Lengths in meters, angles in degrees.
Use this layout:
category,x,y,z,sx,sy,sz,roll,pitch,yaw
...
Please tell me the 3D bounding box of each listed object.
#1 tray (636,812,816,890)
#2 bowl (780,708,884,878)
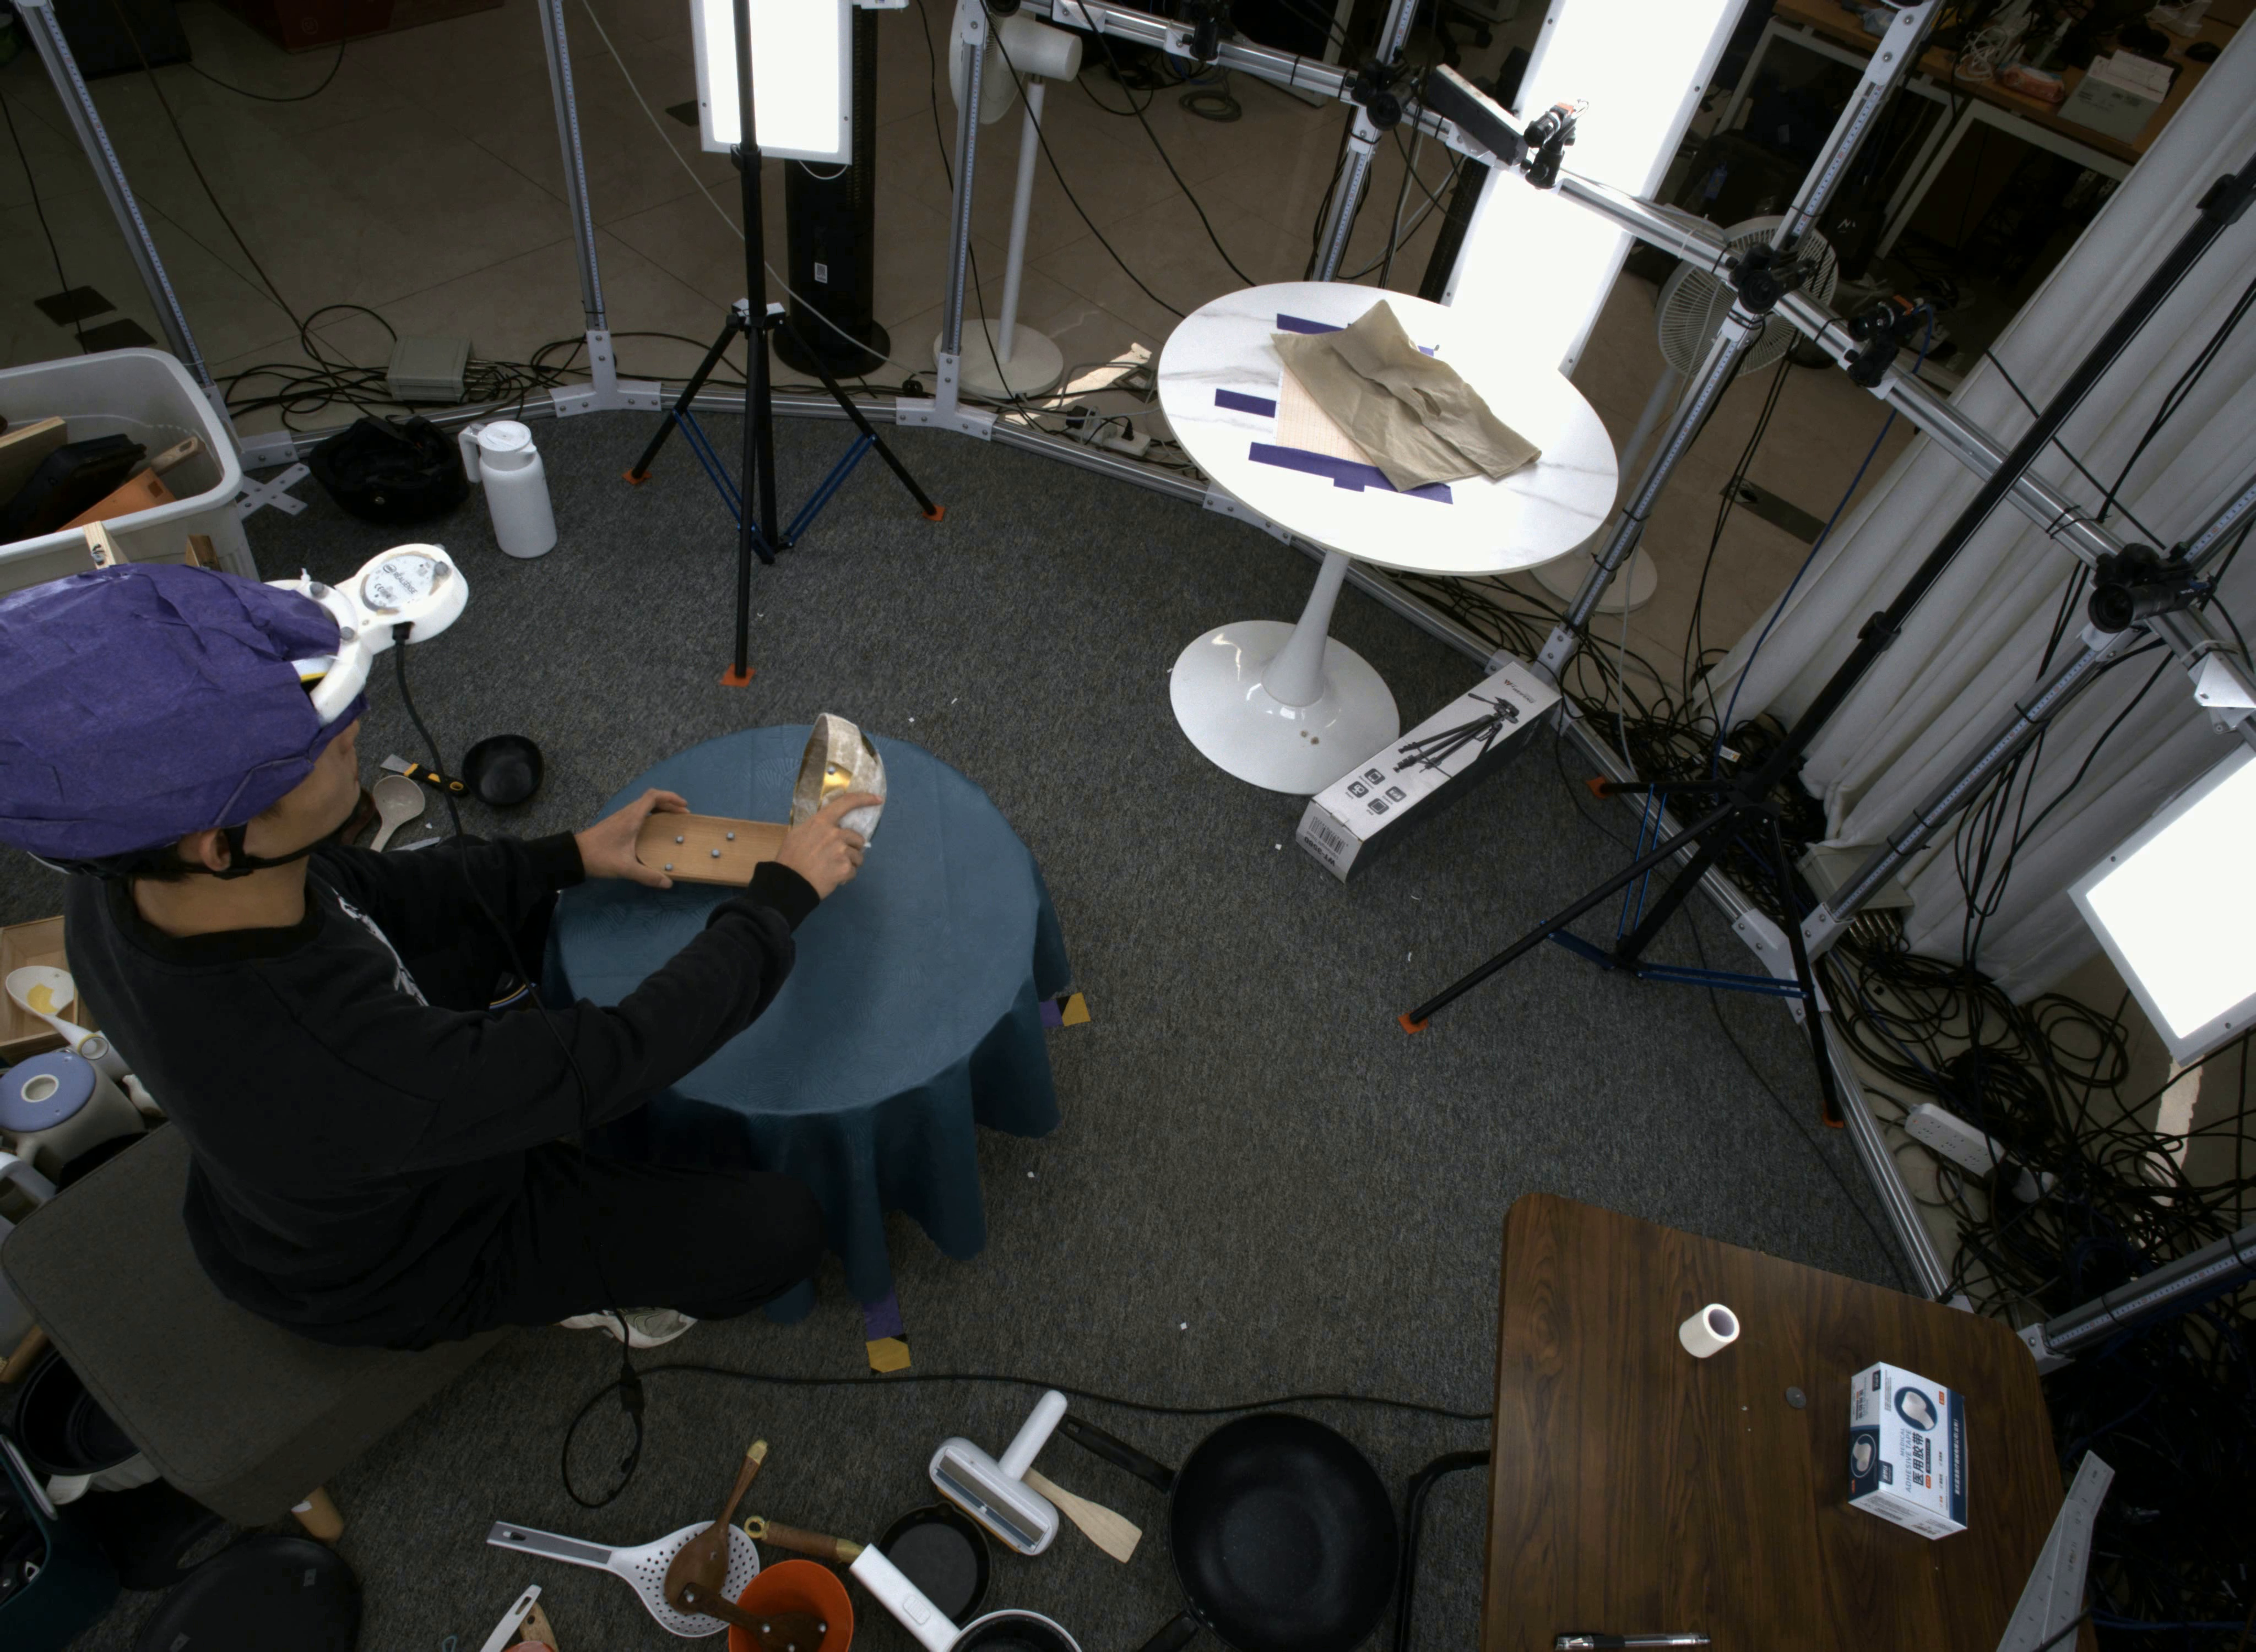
category,x,y,z,sx,sy,sz,roll,pitch,yaw
tray,-0.508,0.031,1.642,0.235,0.020,0.099,8,52,-29
bowl,-0.353,-0.030,1.582,0.096,0.216,0.210,13,49,-24
